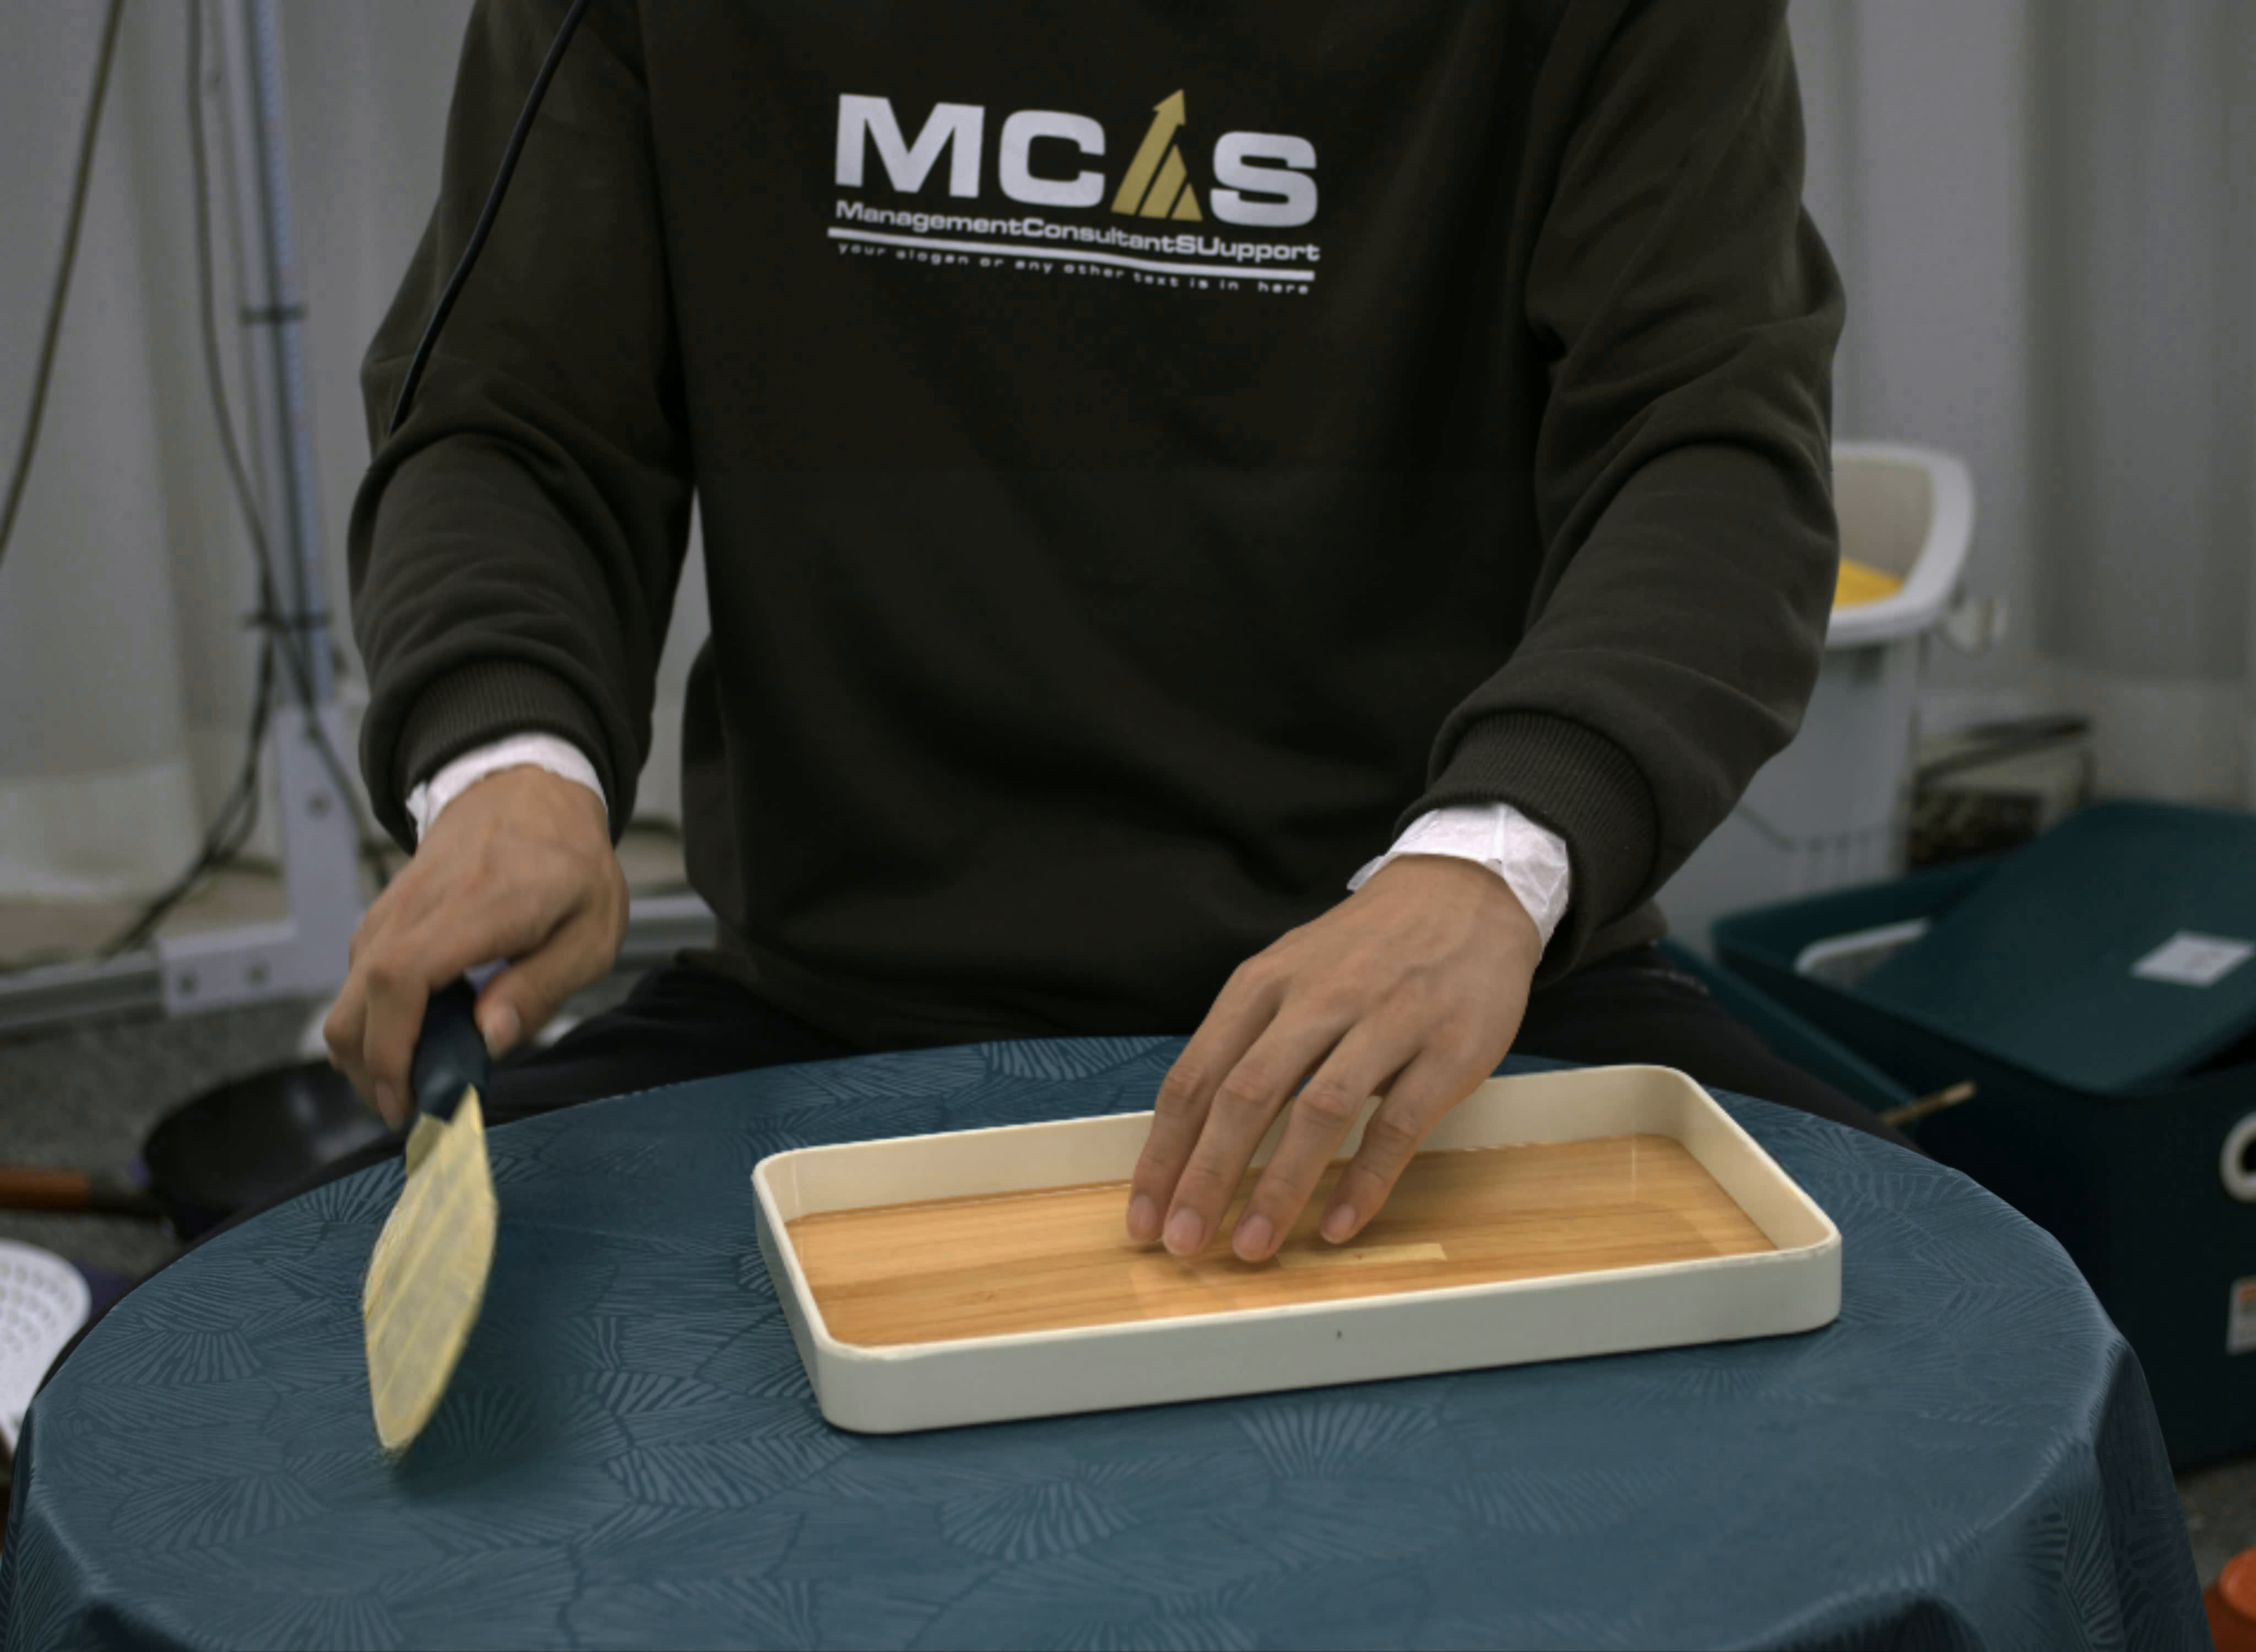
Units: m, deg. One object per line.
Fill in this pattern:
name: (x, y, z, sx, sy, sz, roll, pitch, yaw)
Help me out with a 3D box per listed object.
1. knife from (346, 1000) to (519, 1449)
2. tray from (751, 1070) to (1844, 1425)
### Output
knife: (-0.207, 0.114, 1.626, 0.027, 0.081, 0.292, 36, 10, -17)
tray: (0.045, 0.123, 1.627, 0.299, 0.027, 0.193, -5, 14, -9)
